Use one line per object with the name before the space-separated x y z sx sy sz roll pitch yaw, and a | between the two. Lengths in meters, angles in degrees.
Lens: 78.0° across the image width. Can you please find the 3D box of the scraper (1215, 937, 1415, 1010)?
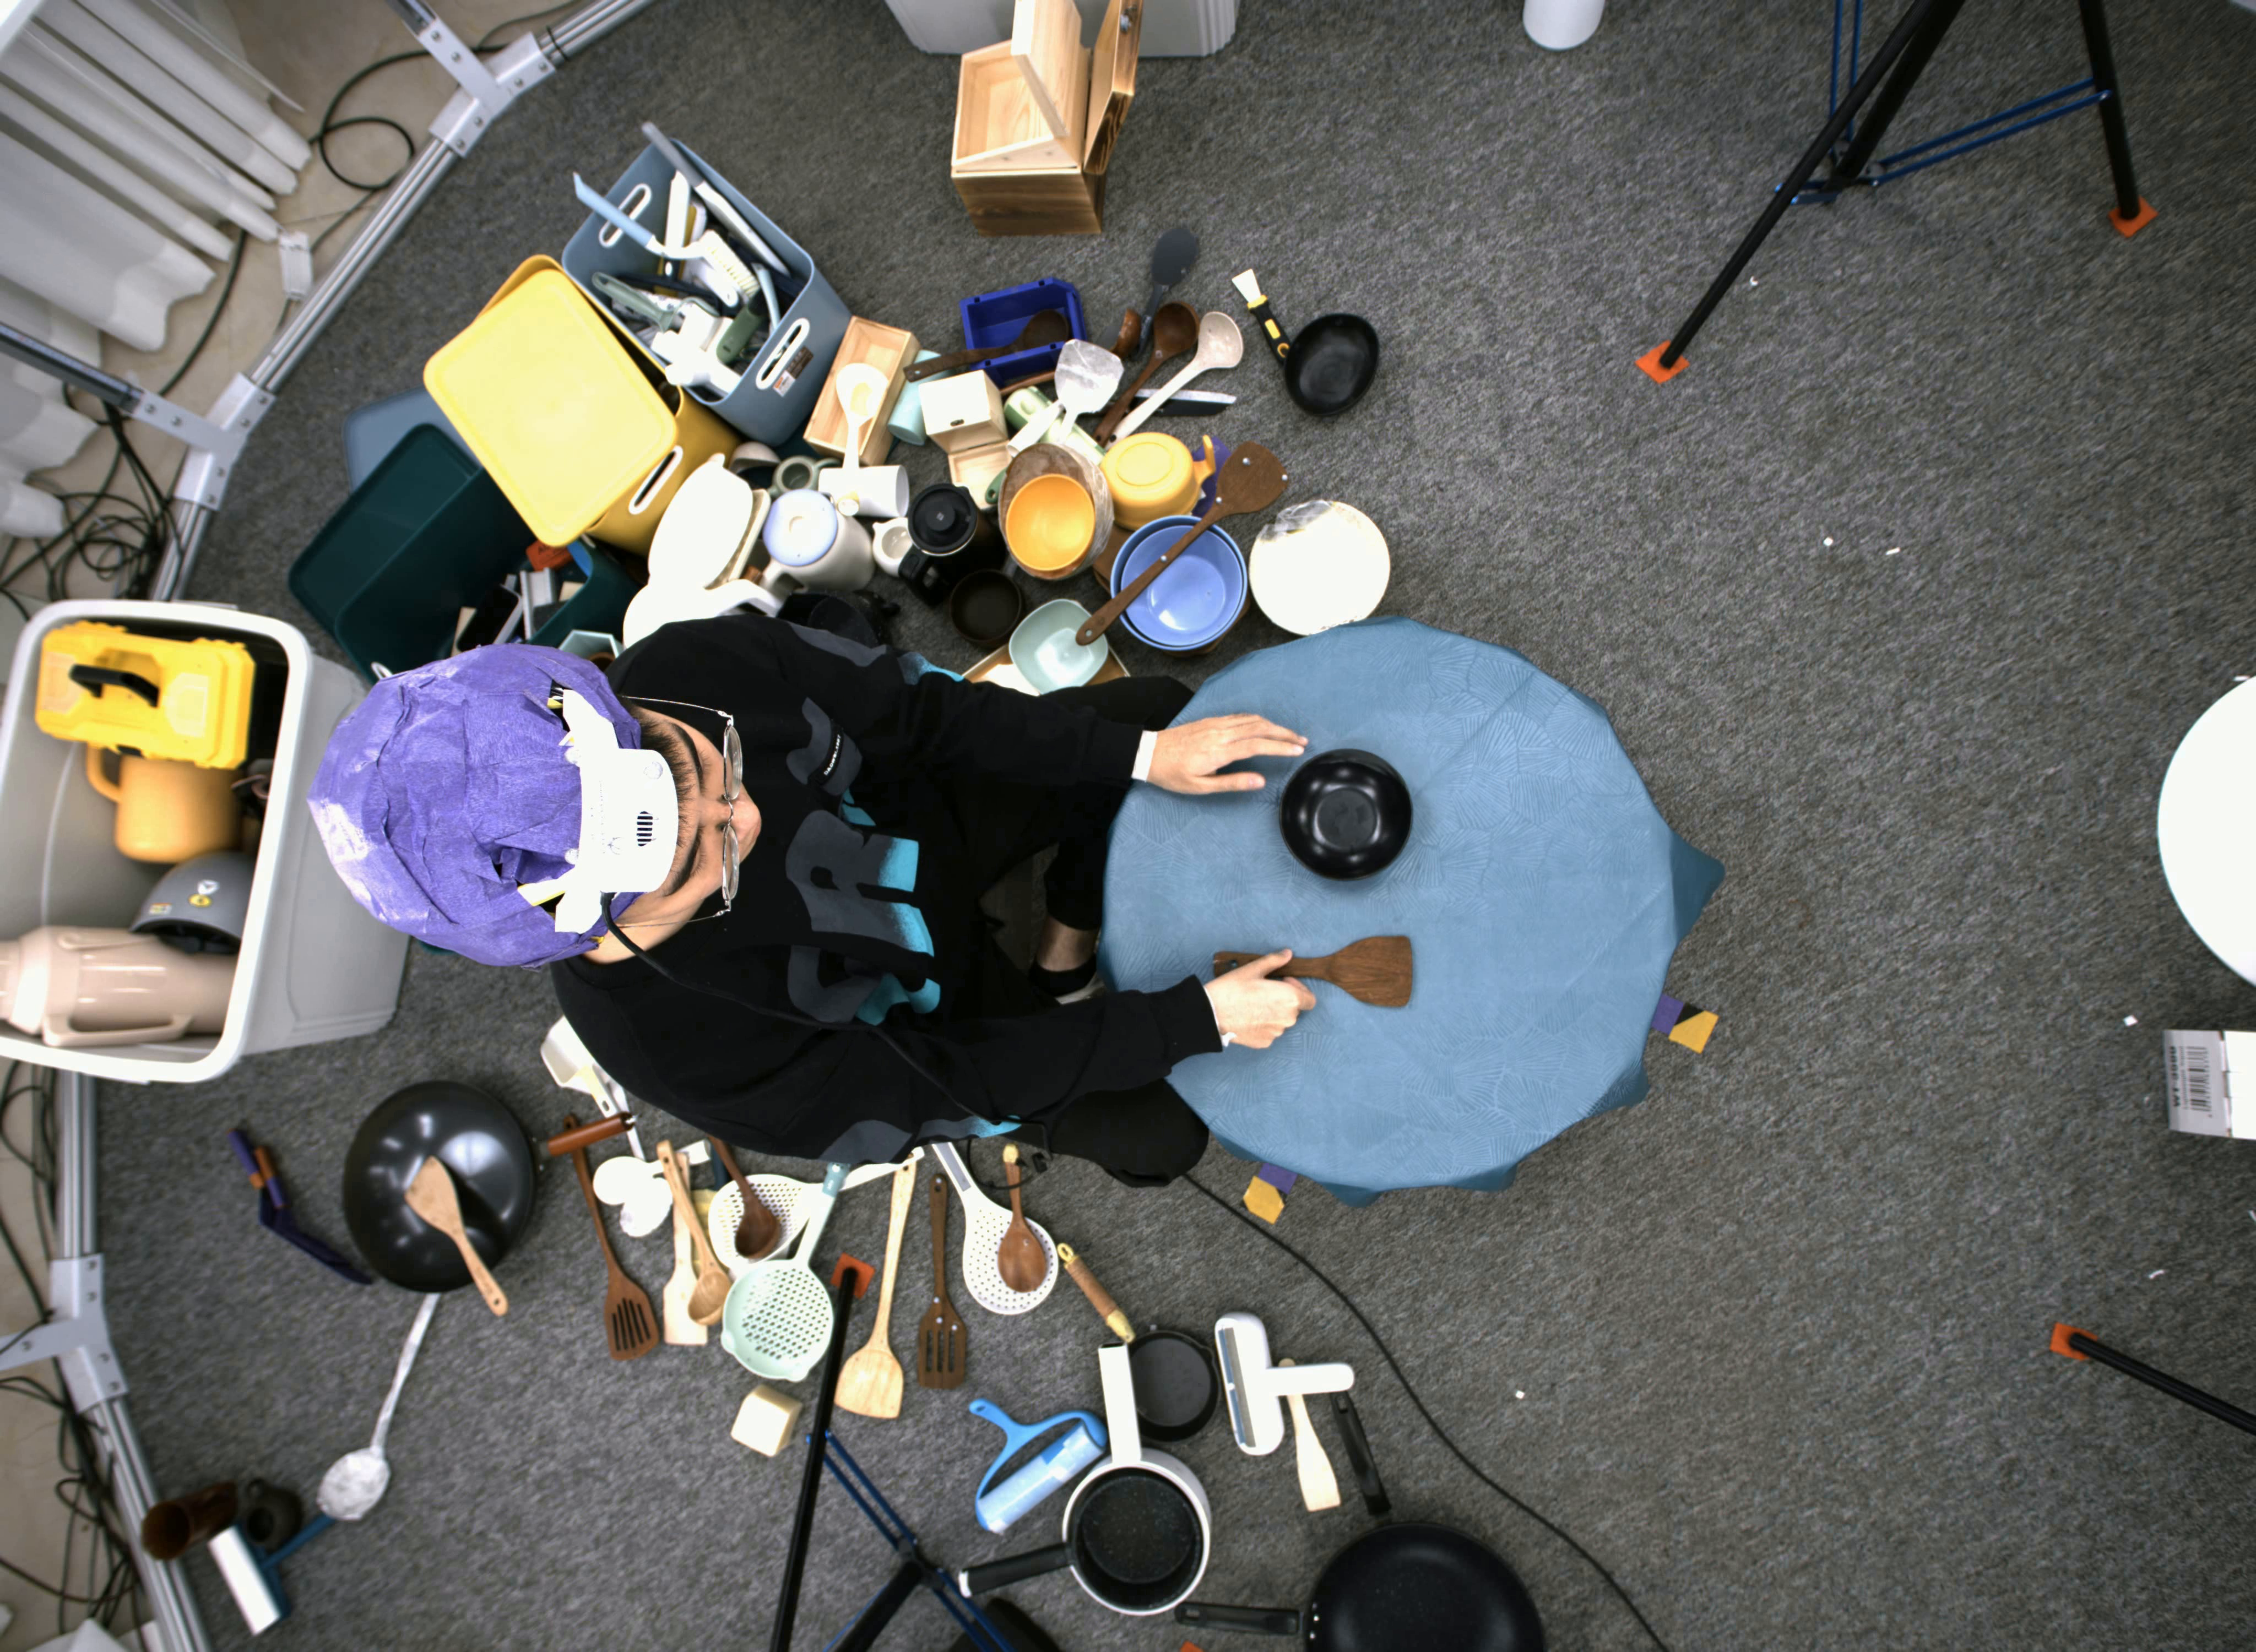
scraper | 0.197 0.152 1.468 0.212 0.011 0.075 1 83 11

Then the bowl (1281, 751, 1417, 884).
bowl | 0.232 -0.009 1.453 0.140 0.050 0.139 0 89 11
